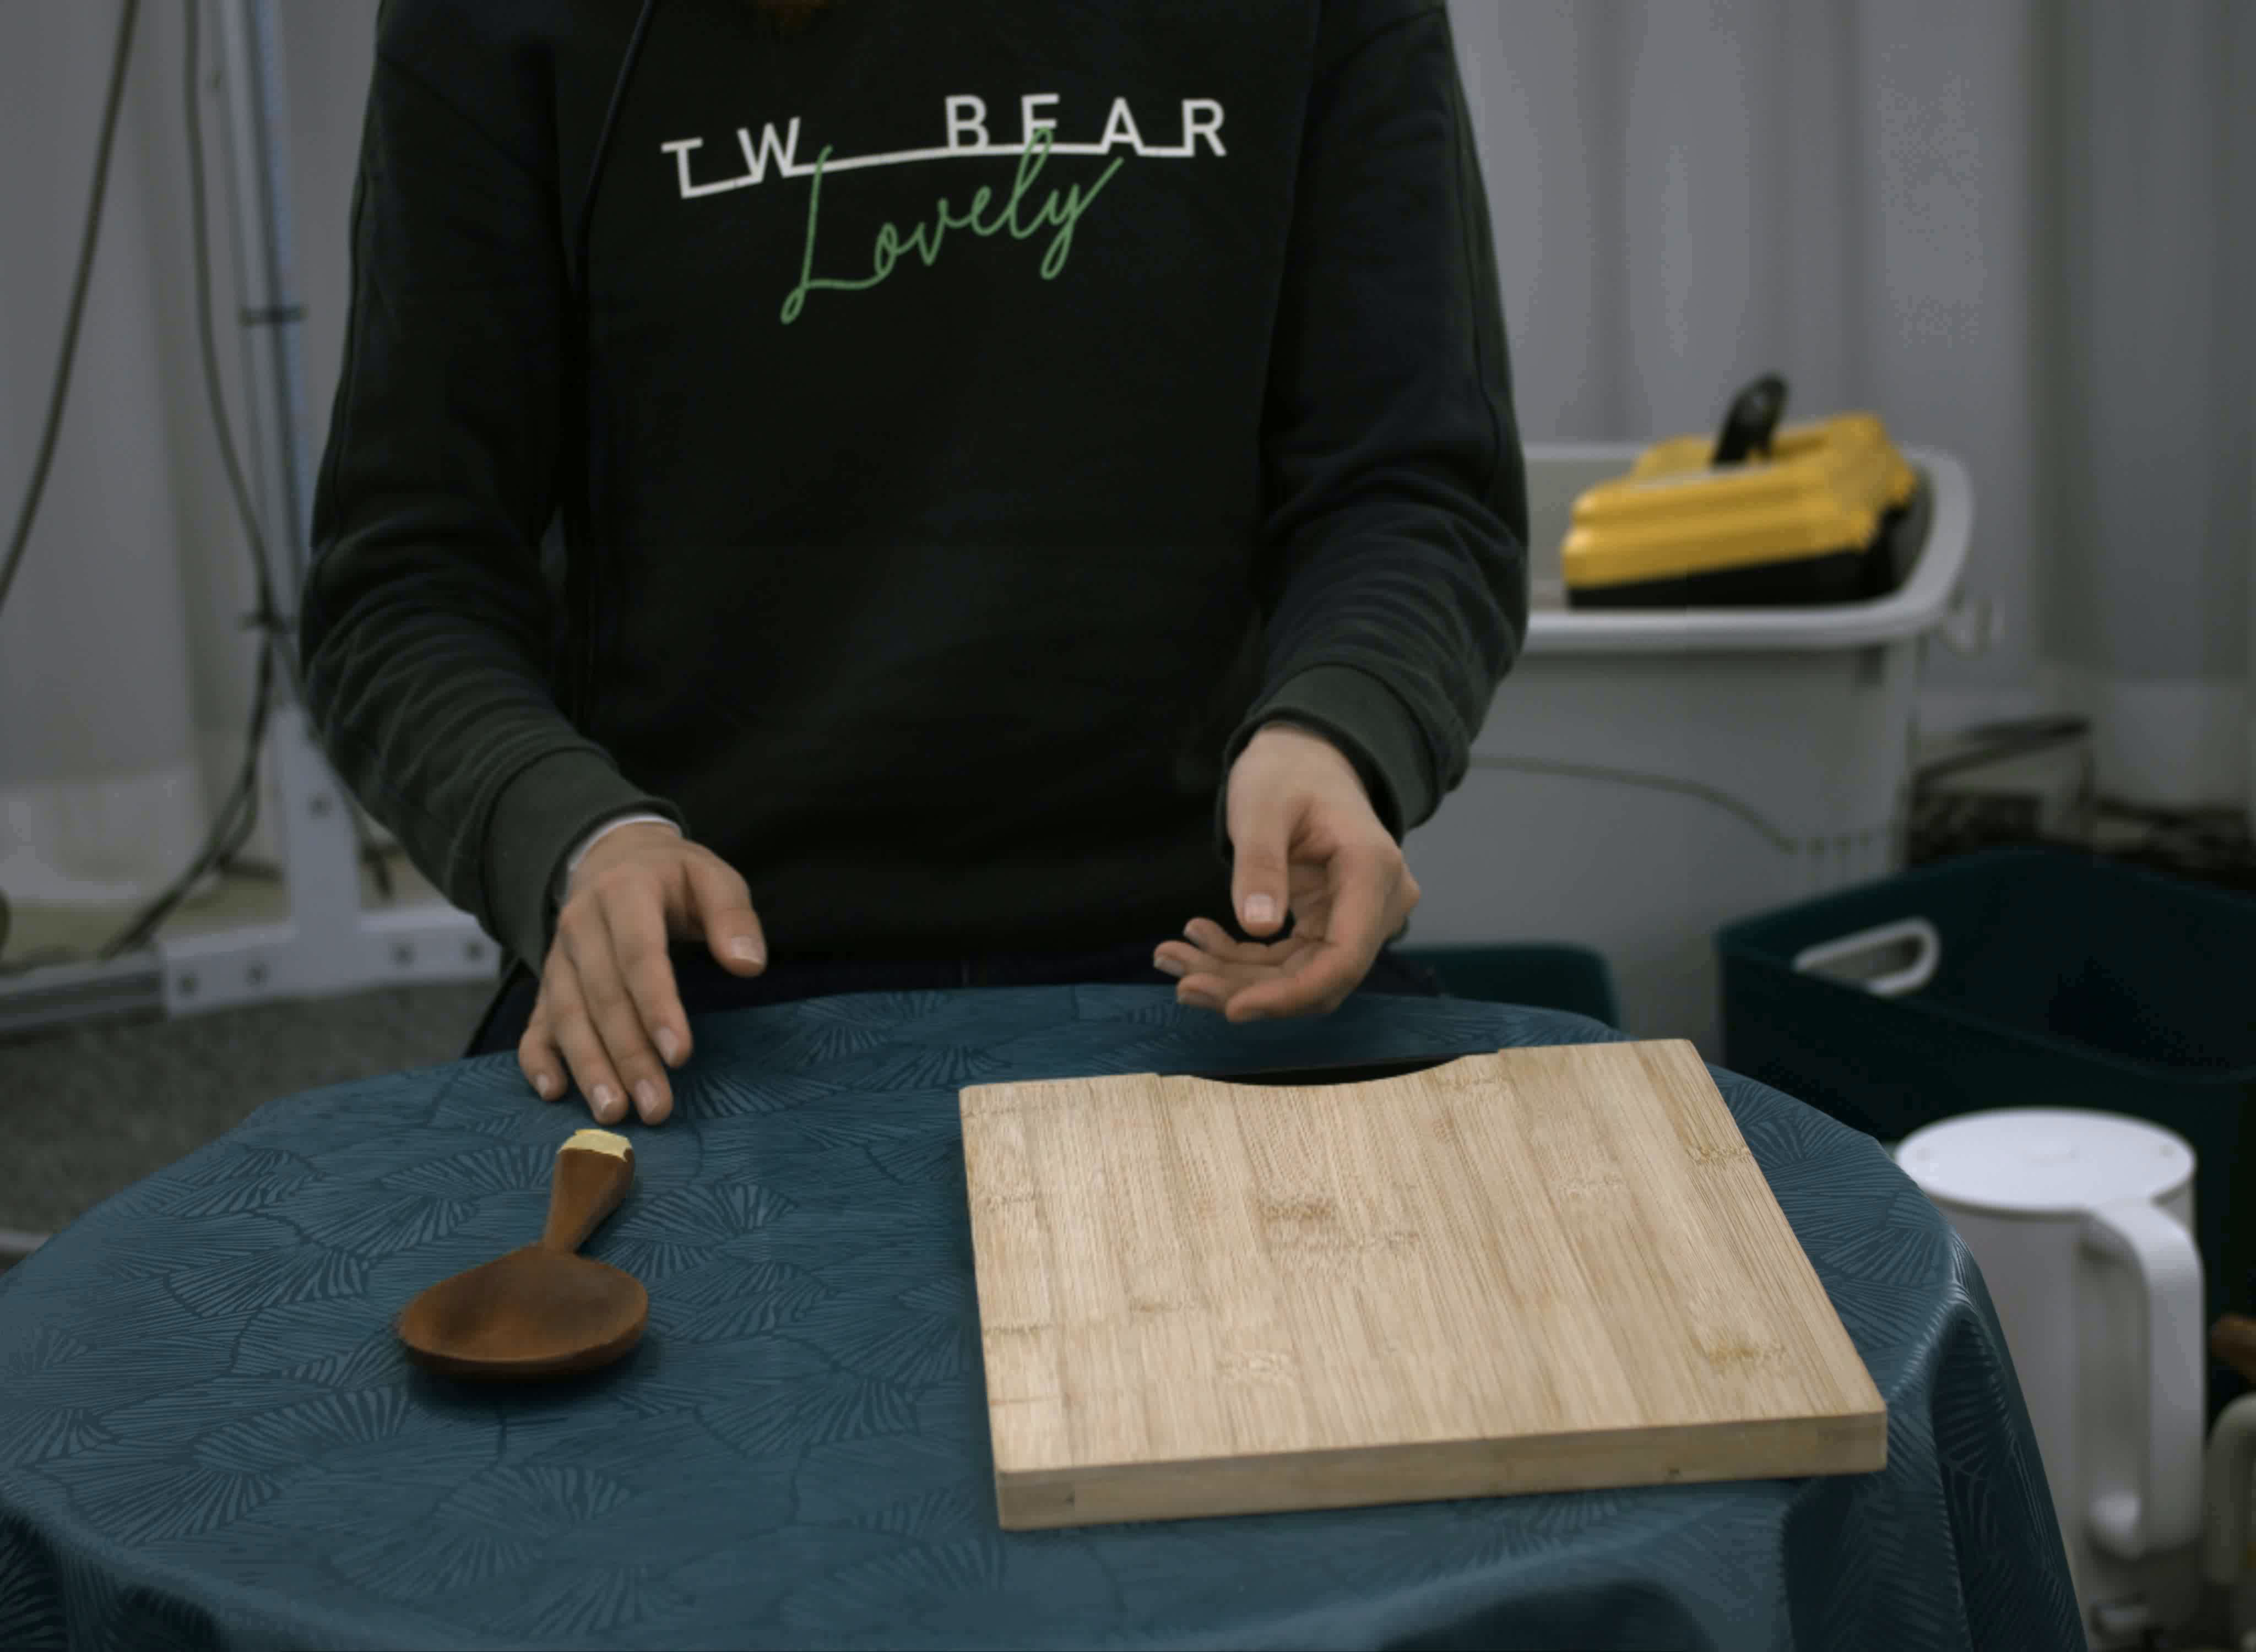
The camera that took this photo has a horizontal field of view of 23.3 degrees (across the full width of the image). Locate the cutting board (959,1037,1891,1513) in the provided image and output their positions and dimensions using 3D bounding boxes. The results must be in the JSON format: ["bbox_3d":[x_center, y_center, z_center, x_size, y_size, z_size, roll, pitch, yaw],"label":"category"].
[{"bbox_3d":[0.075,0.128,1.621,0.250,0.023,0.351,-3,15,-3],"label":"cutting board"}]

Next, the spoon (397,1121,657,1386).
[{"bbox_3d":[-0.172,0.130,1.654,0.075,0.017,0.217,-4,15,3],"label":"spoon"}]
